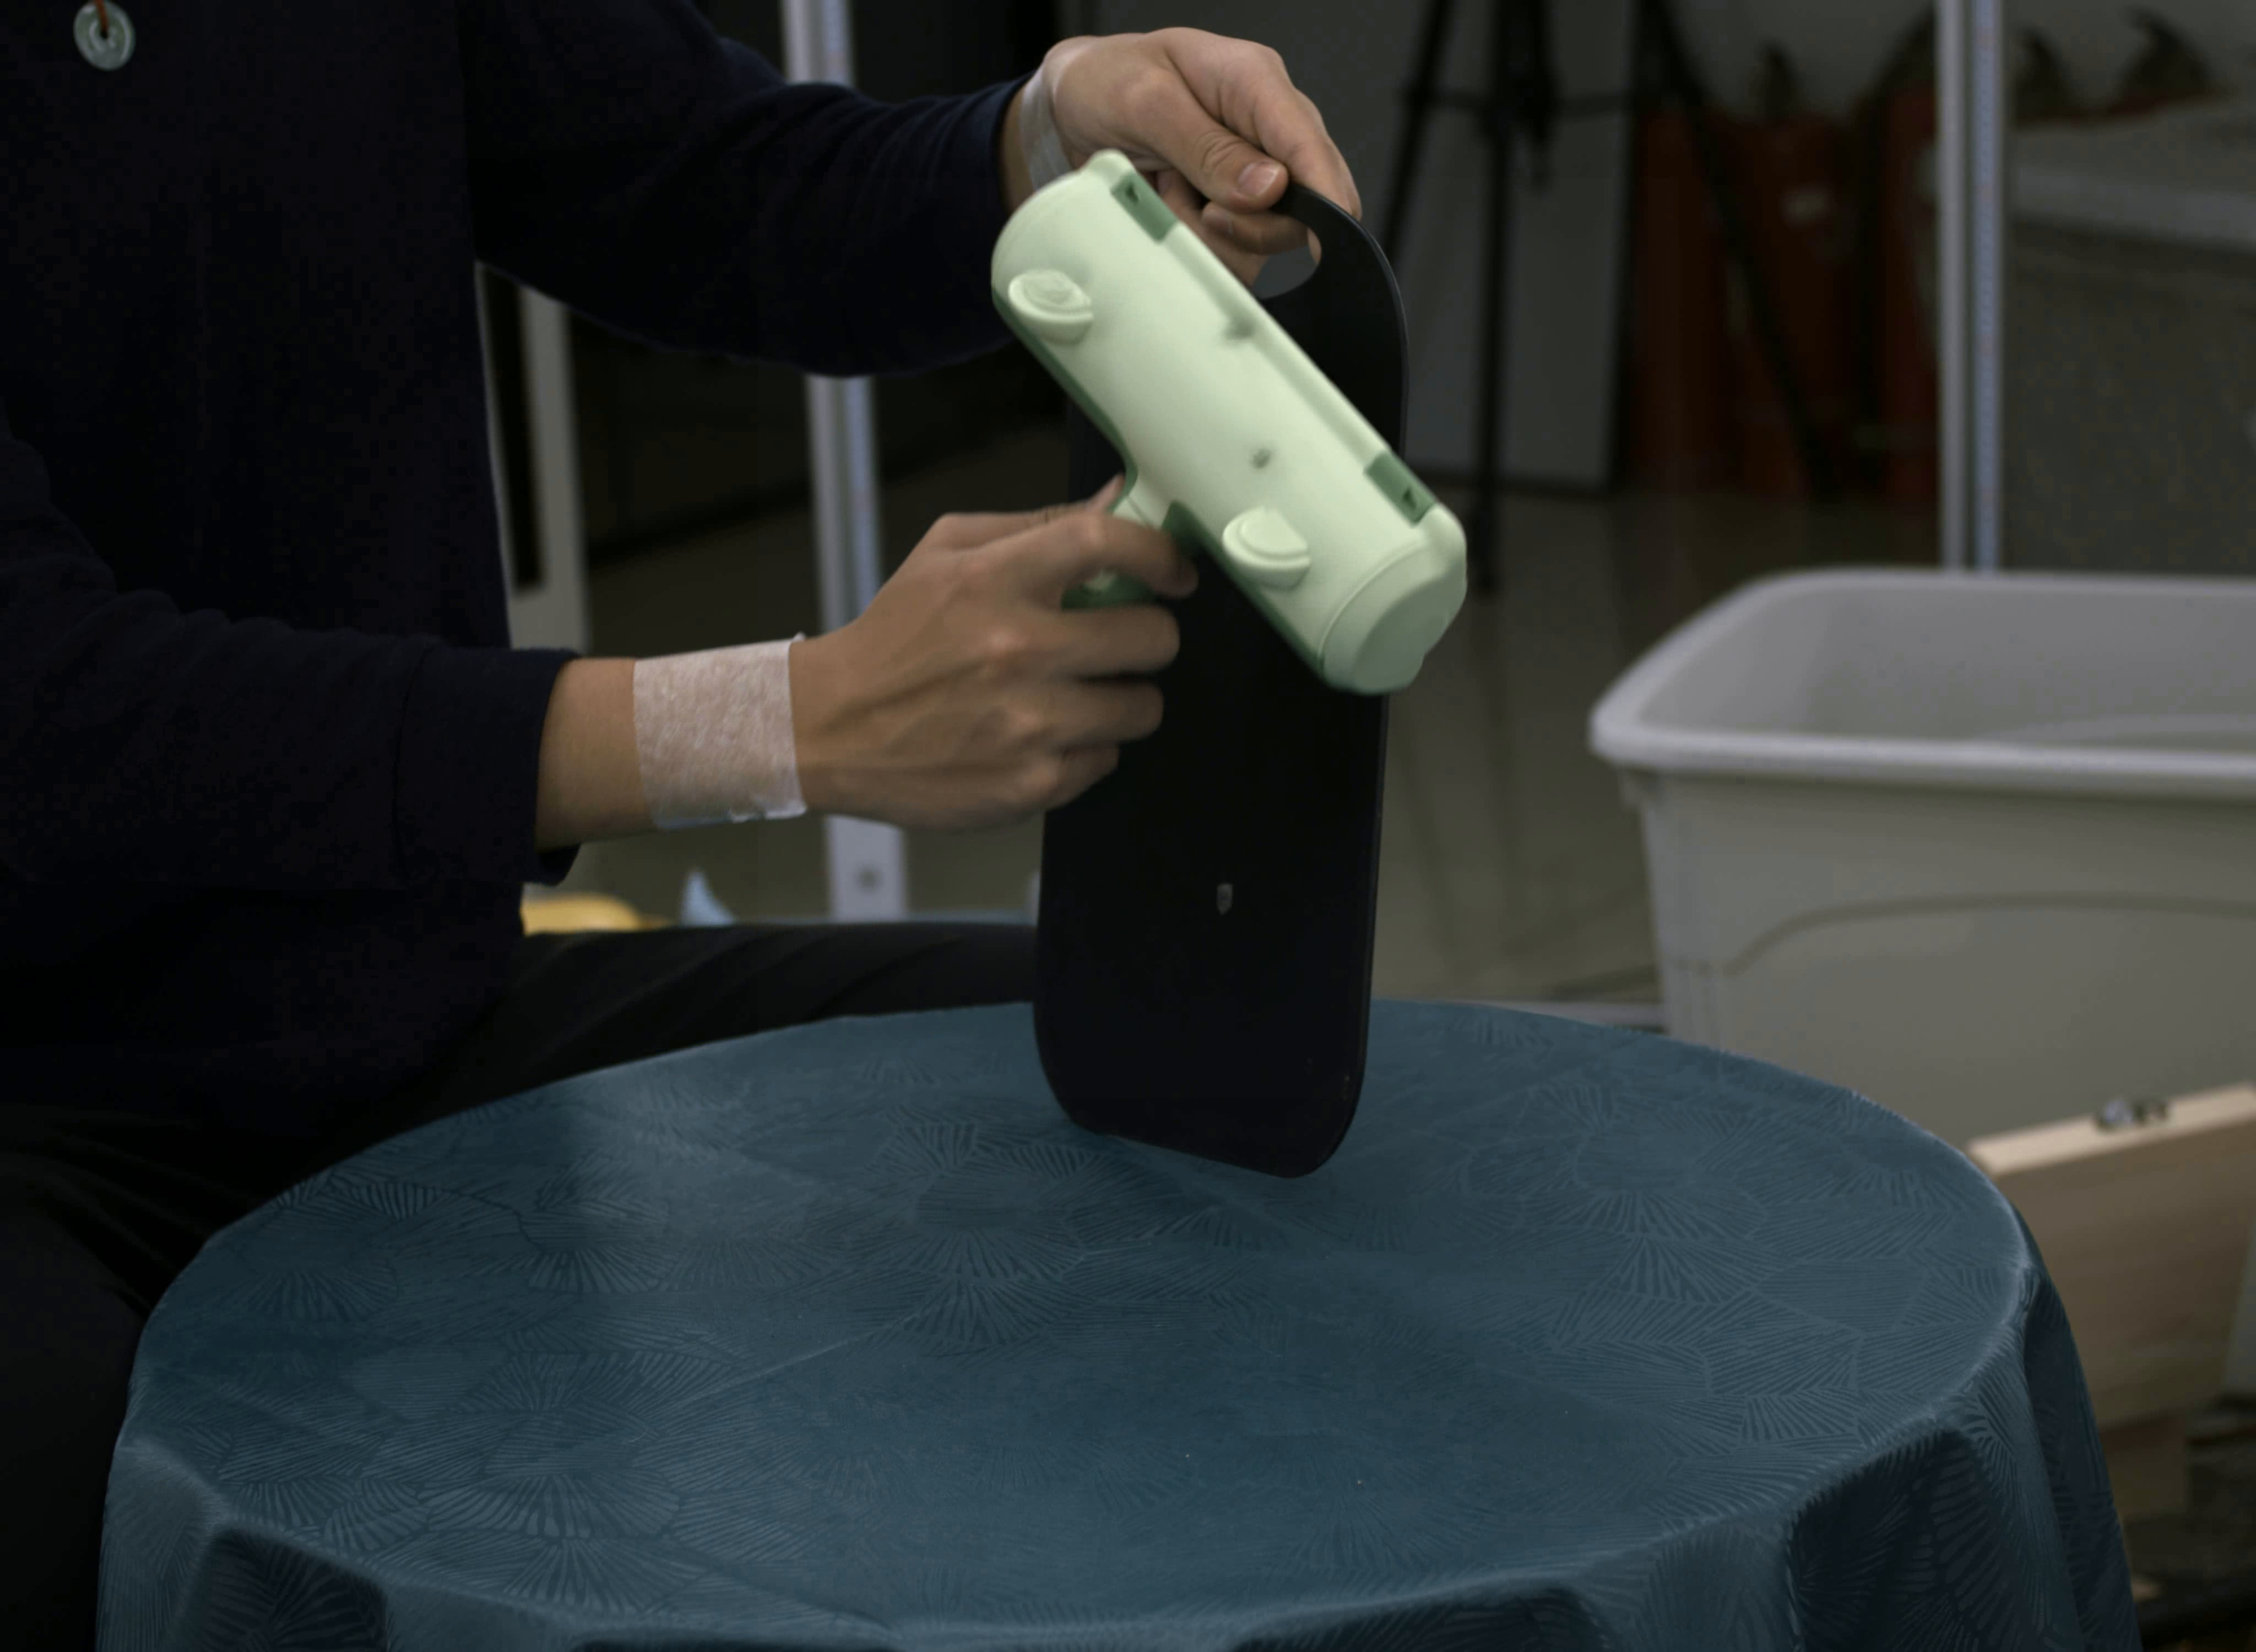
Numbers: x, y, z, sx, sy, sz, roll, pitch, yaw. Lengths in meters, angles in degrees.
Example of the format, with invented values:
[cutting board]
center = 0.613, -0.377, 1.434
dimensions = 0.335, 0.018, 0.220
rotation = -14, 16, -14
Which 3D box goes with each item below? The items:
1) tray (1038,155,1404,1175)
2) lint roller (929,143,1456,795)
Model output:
[tray]
center = 0.029, -0.055, 1.776
dimensions = 0.009, 0.329, 0.213
rotation = 2, 2, -30
[lint roller]
center = -0.014, -0.086, 1.664
dimensions = 0.201, 0.184, 0.081
rotation = 50, 14, 30
